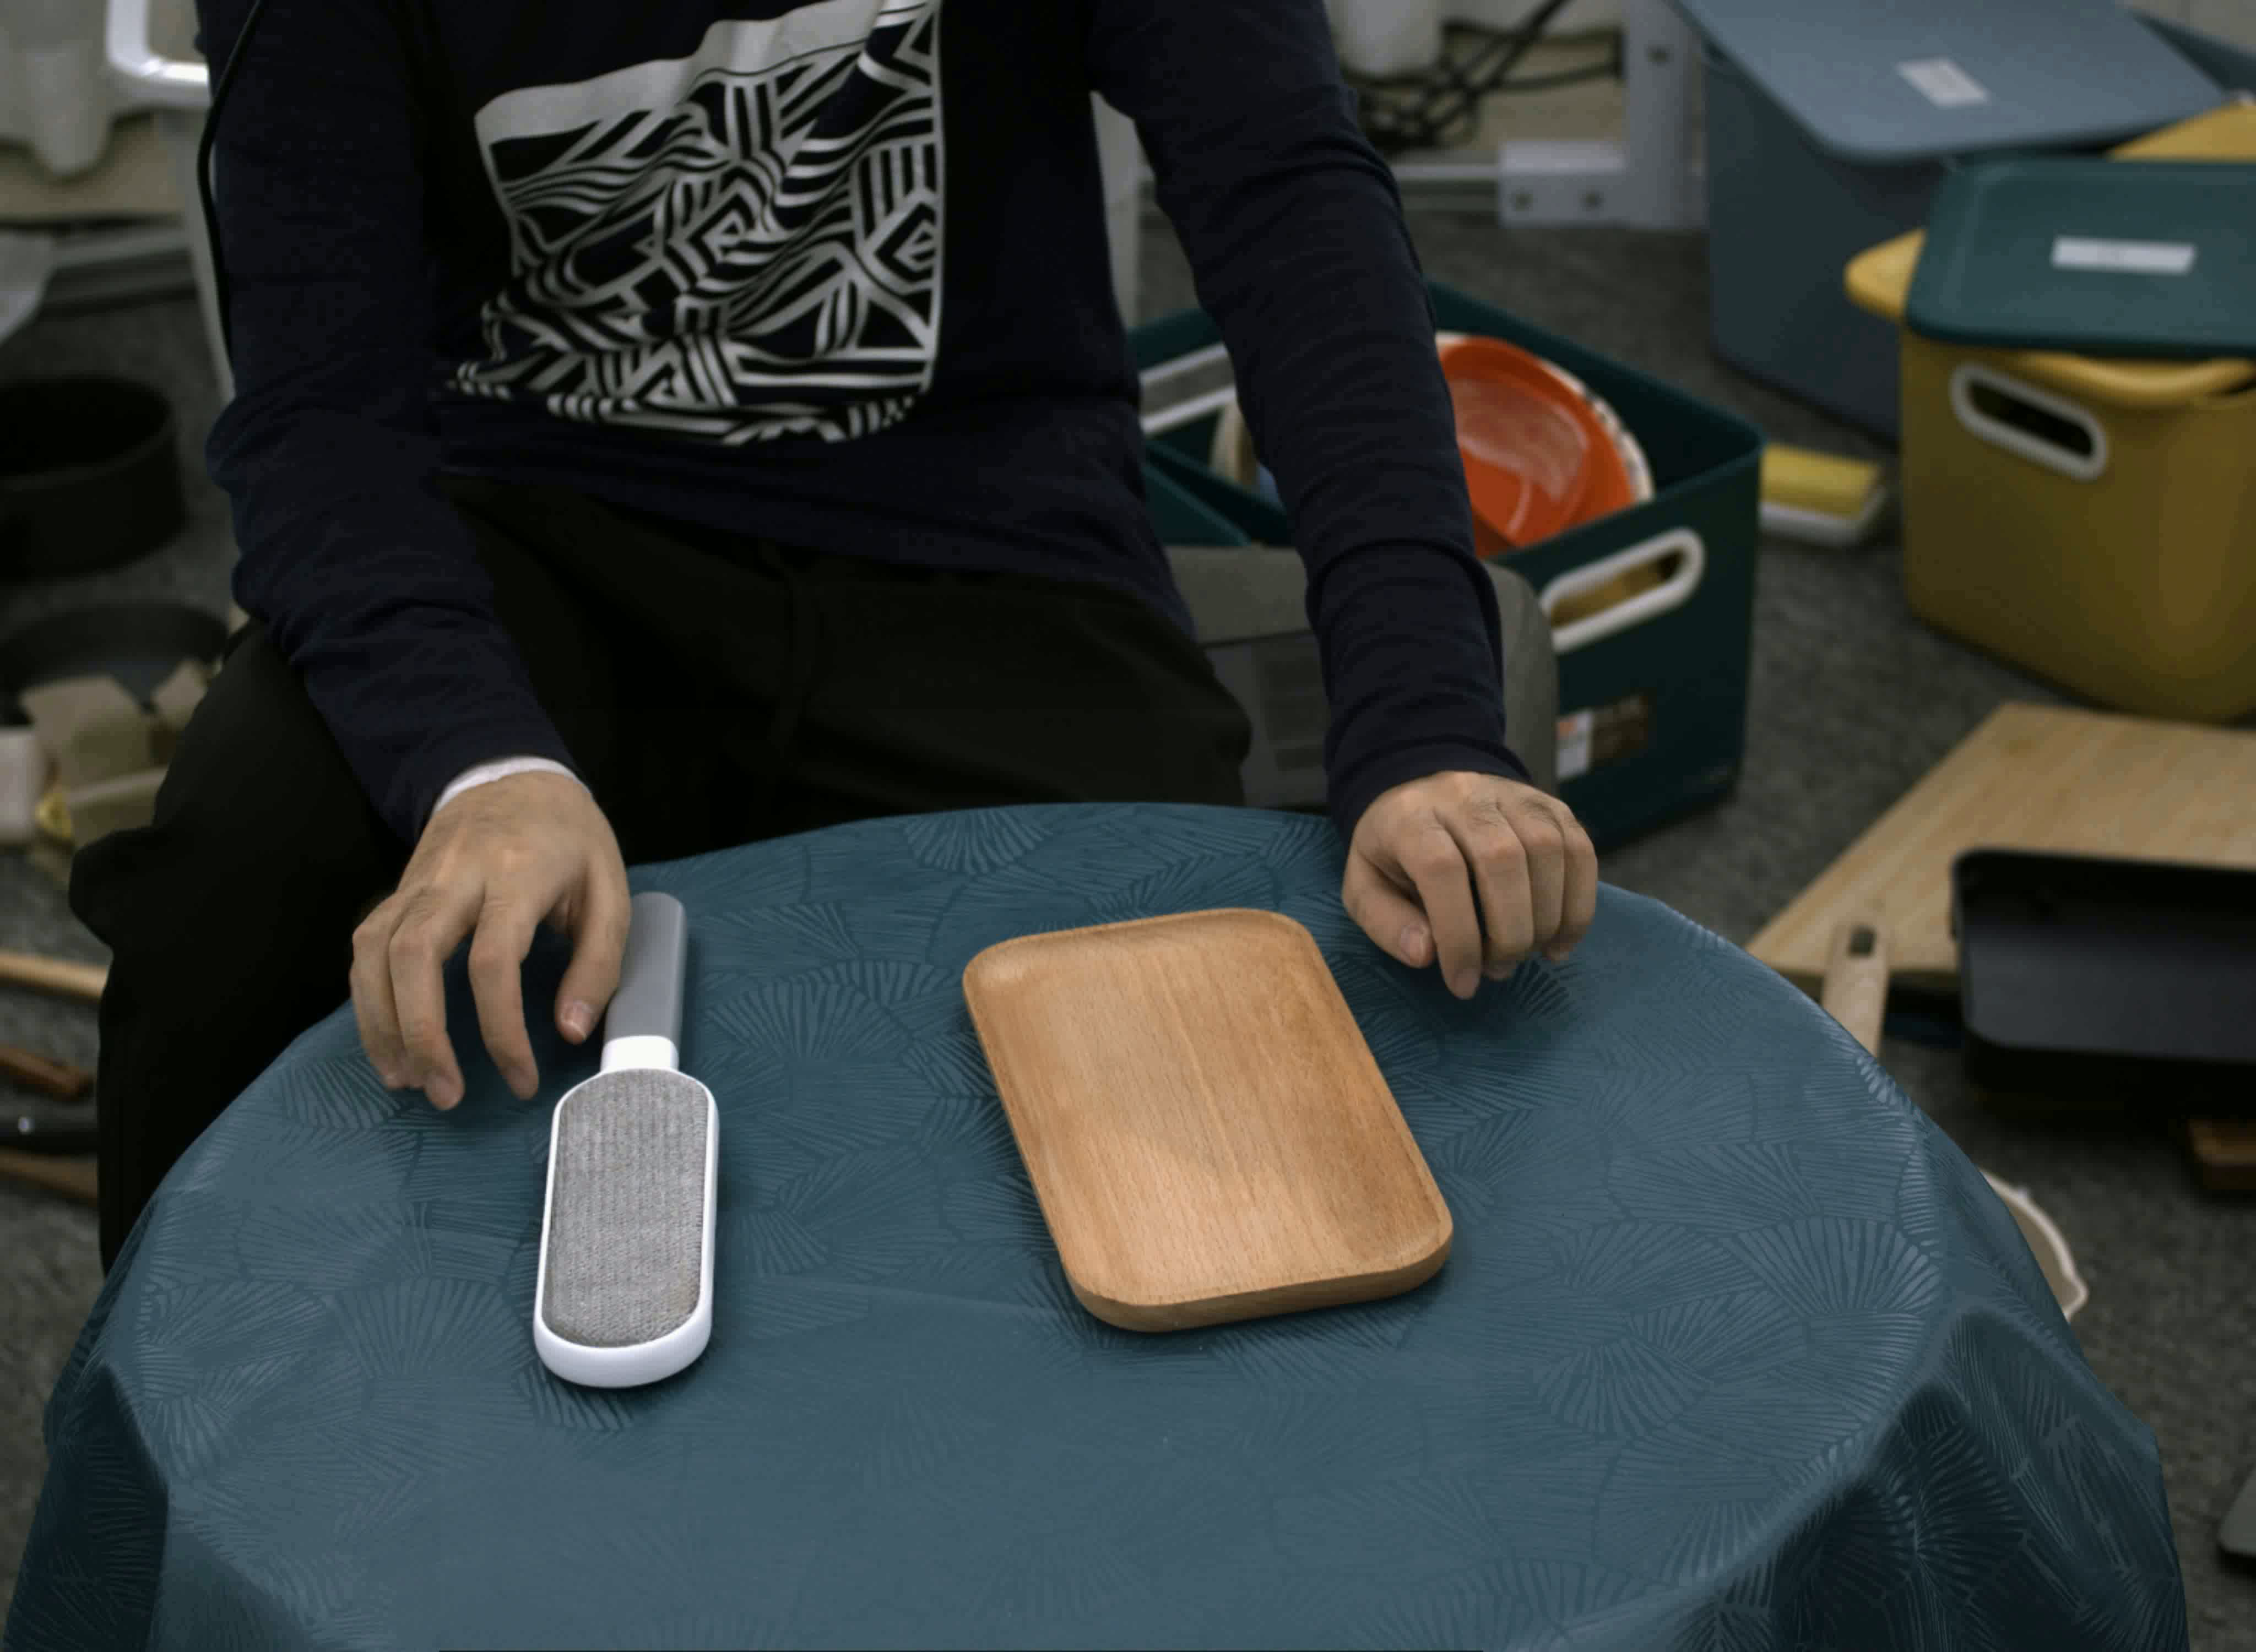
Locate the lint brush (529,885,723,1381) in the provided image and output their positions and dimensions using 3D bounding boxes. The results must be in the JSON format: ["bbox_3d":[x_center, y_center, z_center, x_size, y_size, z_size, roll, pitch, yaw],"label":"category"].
[{"bbox_3d":[-0.165,0.098,1.893,0.060,0.021,0.313,-8,27,2],"label":"lint brush"}]

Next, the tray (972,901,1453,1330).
[{"bbox_3d":[0.025,0.095,1.893,0.130,0.022,0.254,-5,27,-8],"label":"tray"}]
